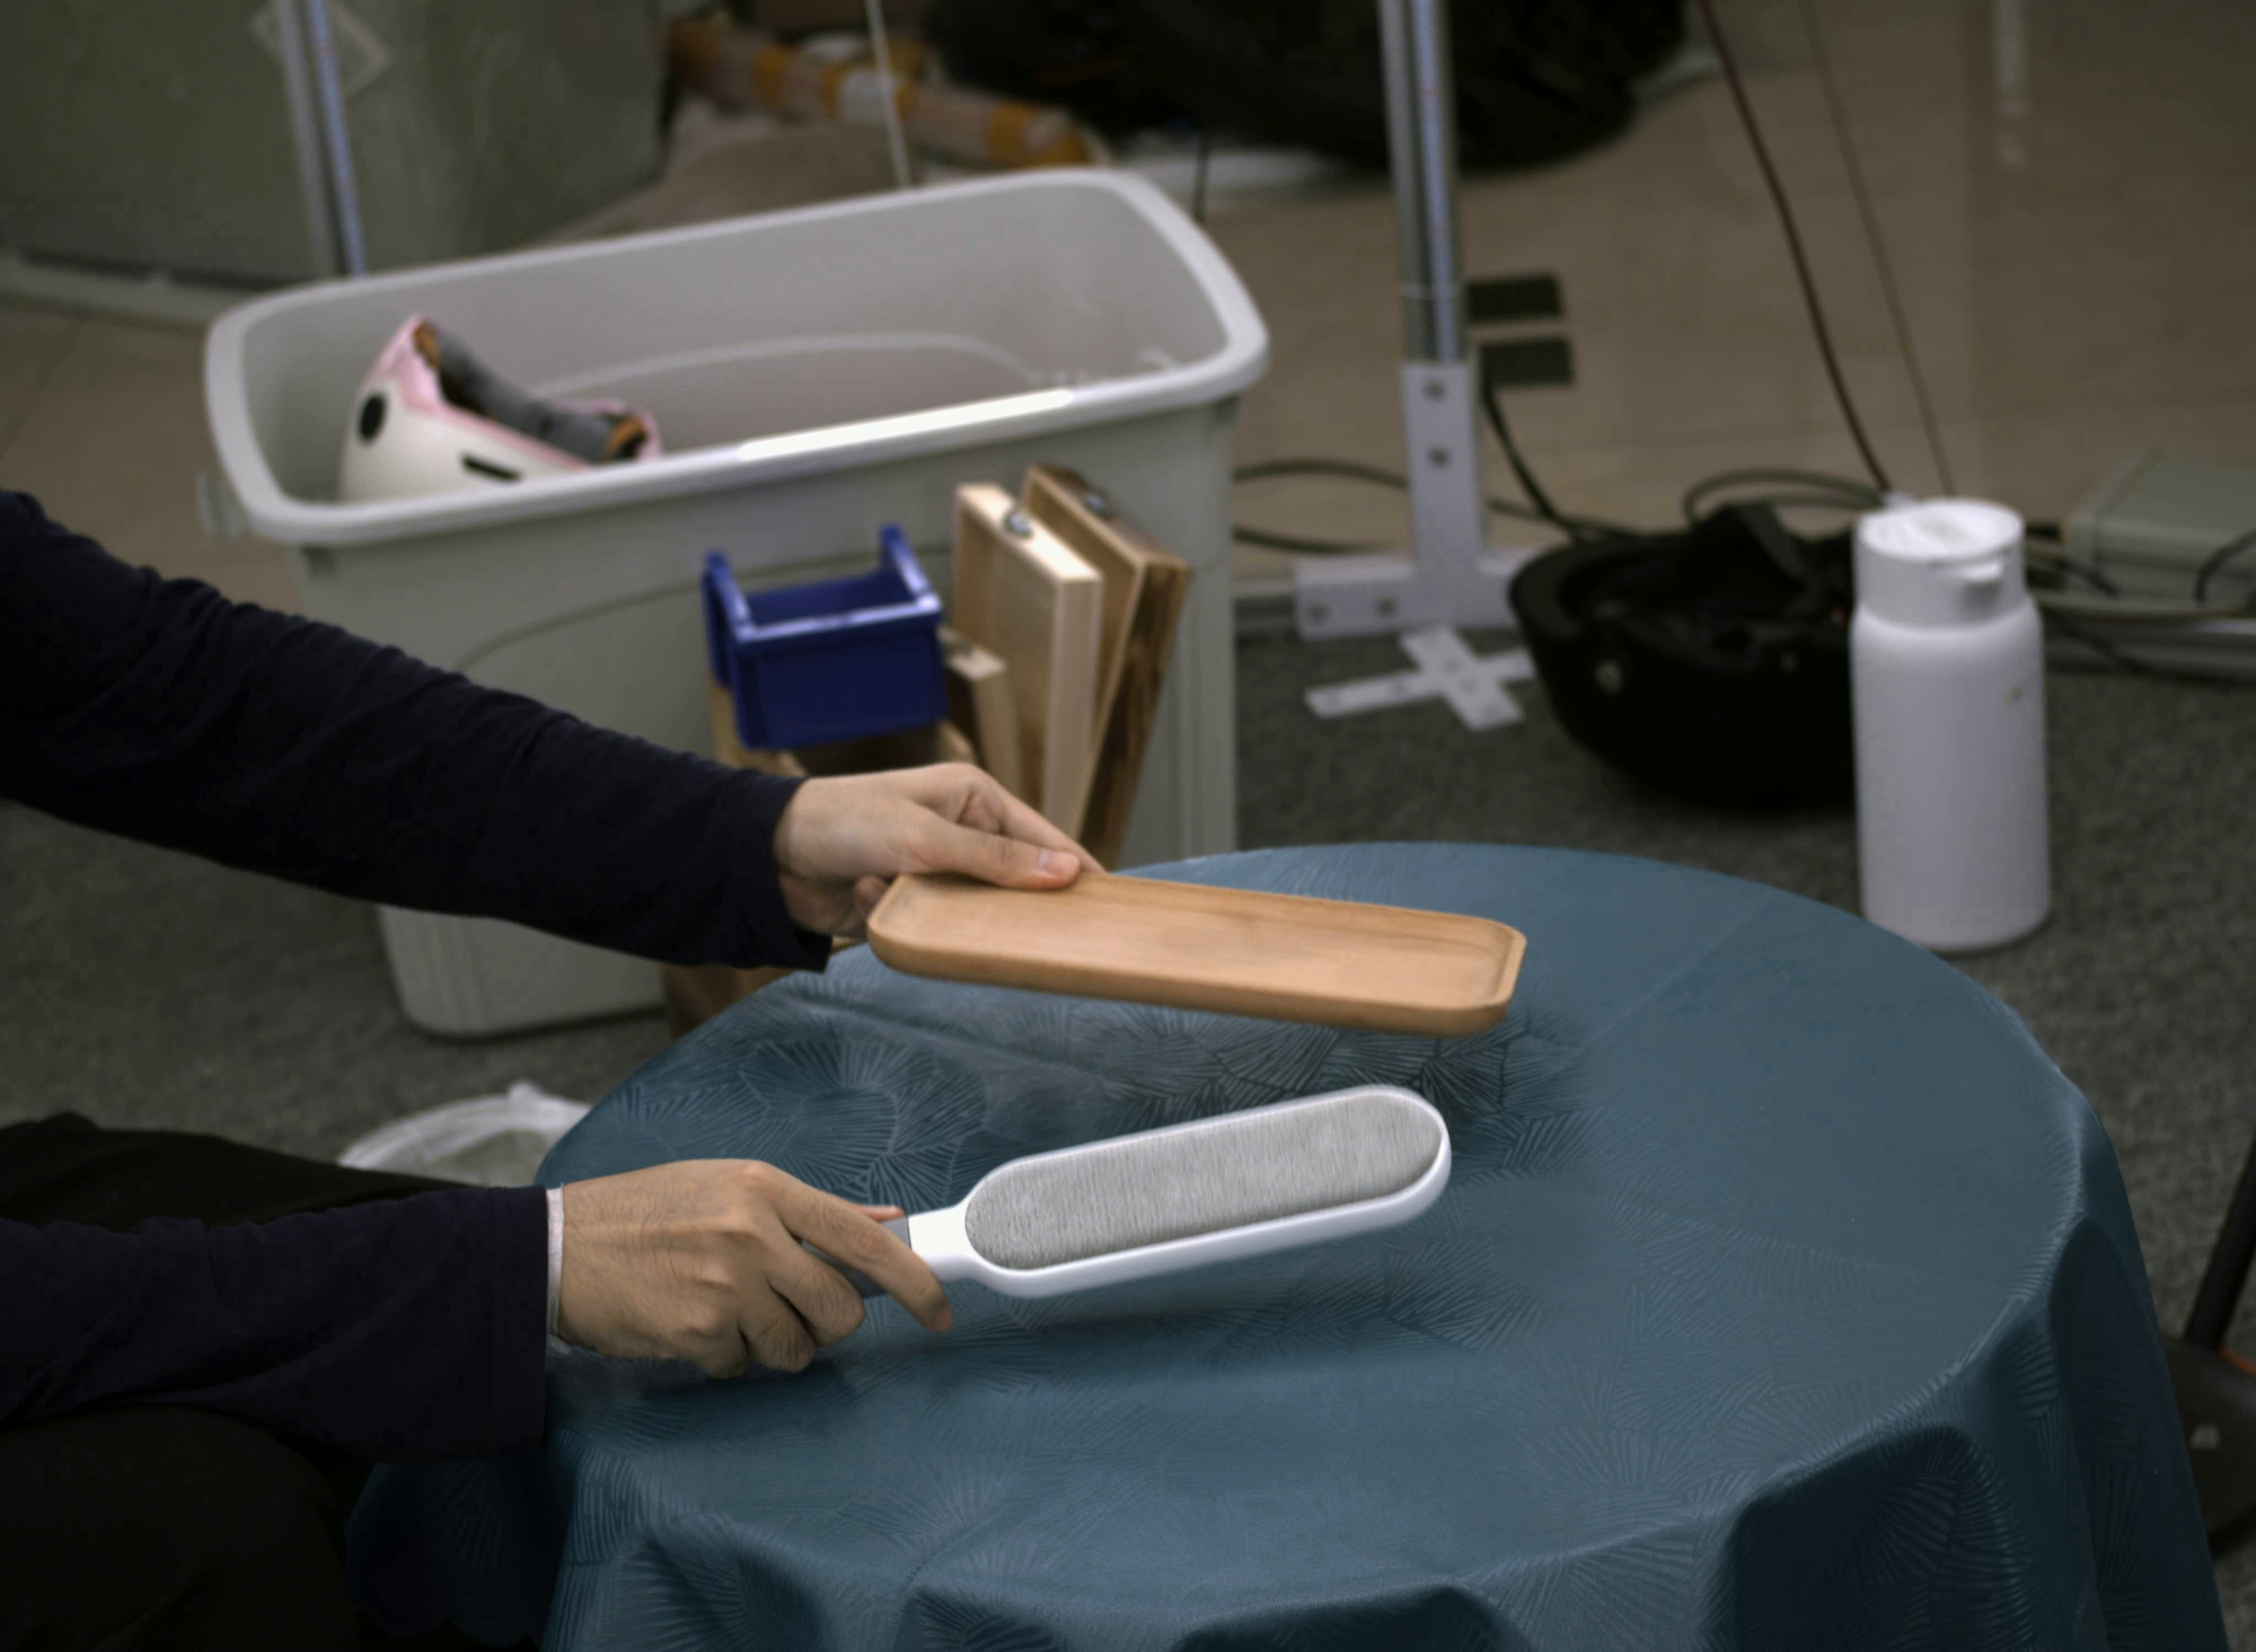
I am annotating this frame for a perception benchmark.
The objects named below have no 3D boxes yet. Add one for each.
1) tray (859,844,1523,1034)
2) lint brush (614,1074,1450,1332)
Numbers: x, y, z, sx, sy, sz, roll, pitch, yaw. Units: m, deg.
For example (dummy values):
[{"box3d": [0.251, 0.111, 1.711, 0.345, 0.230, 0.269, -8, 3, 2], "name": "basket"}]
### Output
[{"box3d": [0.025, 0.043, 2.205, 0.250, 0.023, 0.129, 7, 13, 9], "name": "tray"}, {"box3d": [-0.035, 0.140, 2.046, 0.308, 0.021, 0.059, -12, 54, 3], "name": "lint brush"}]
